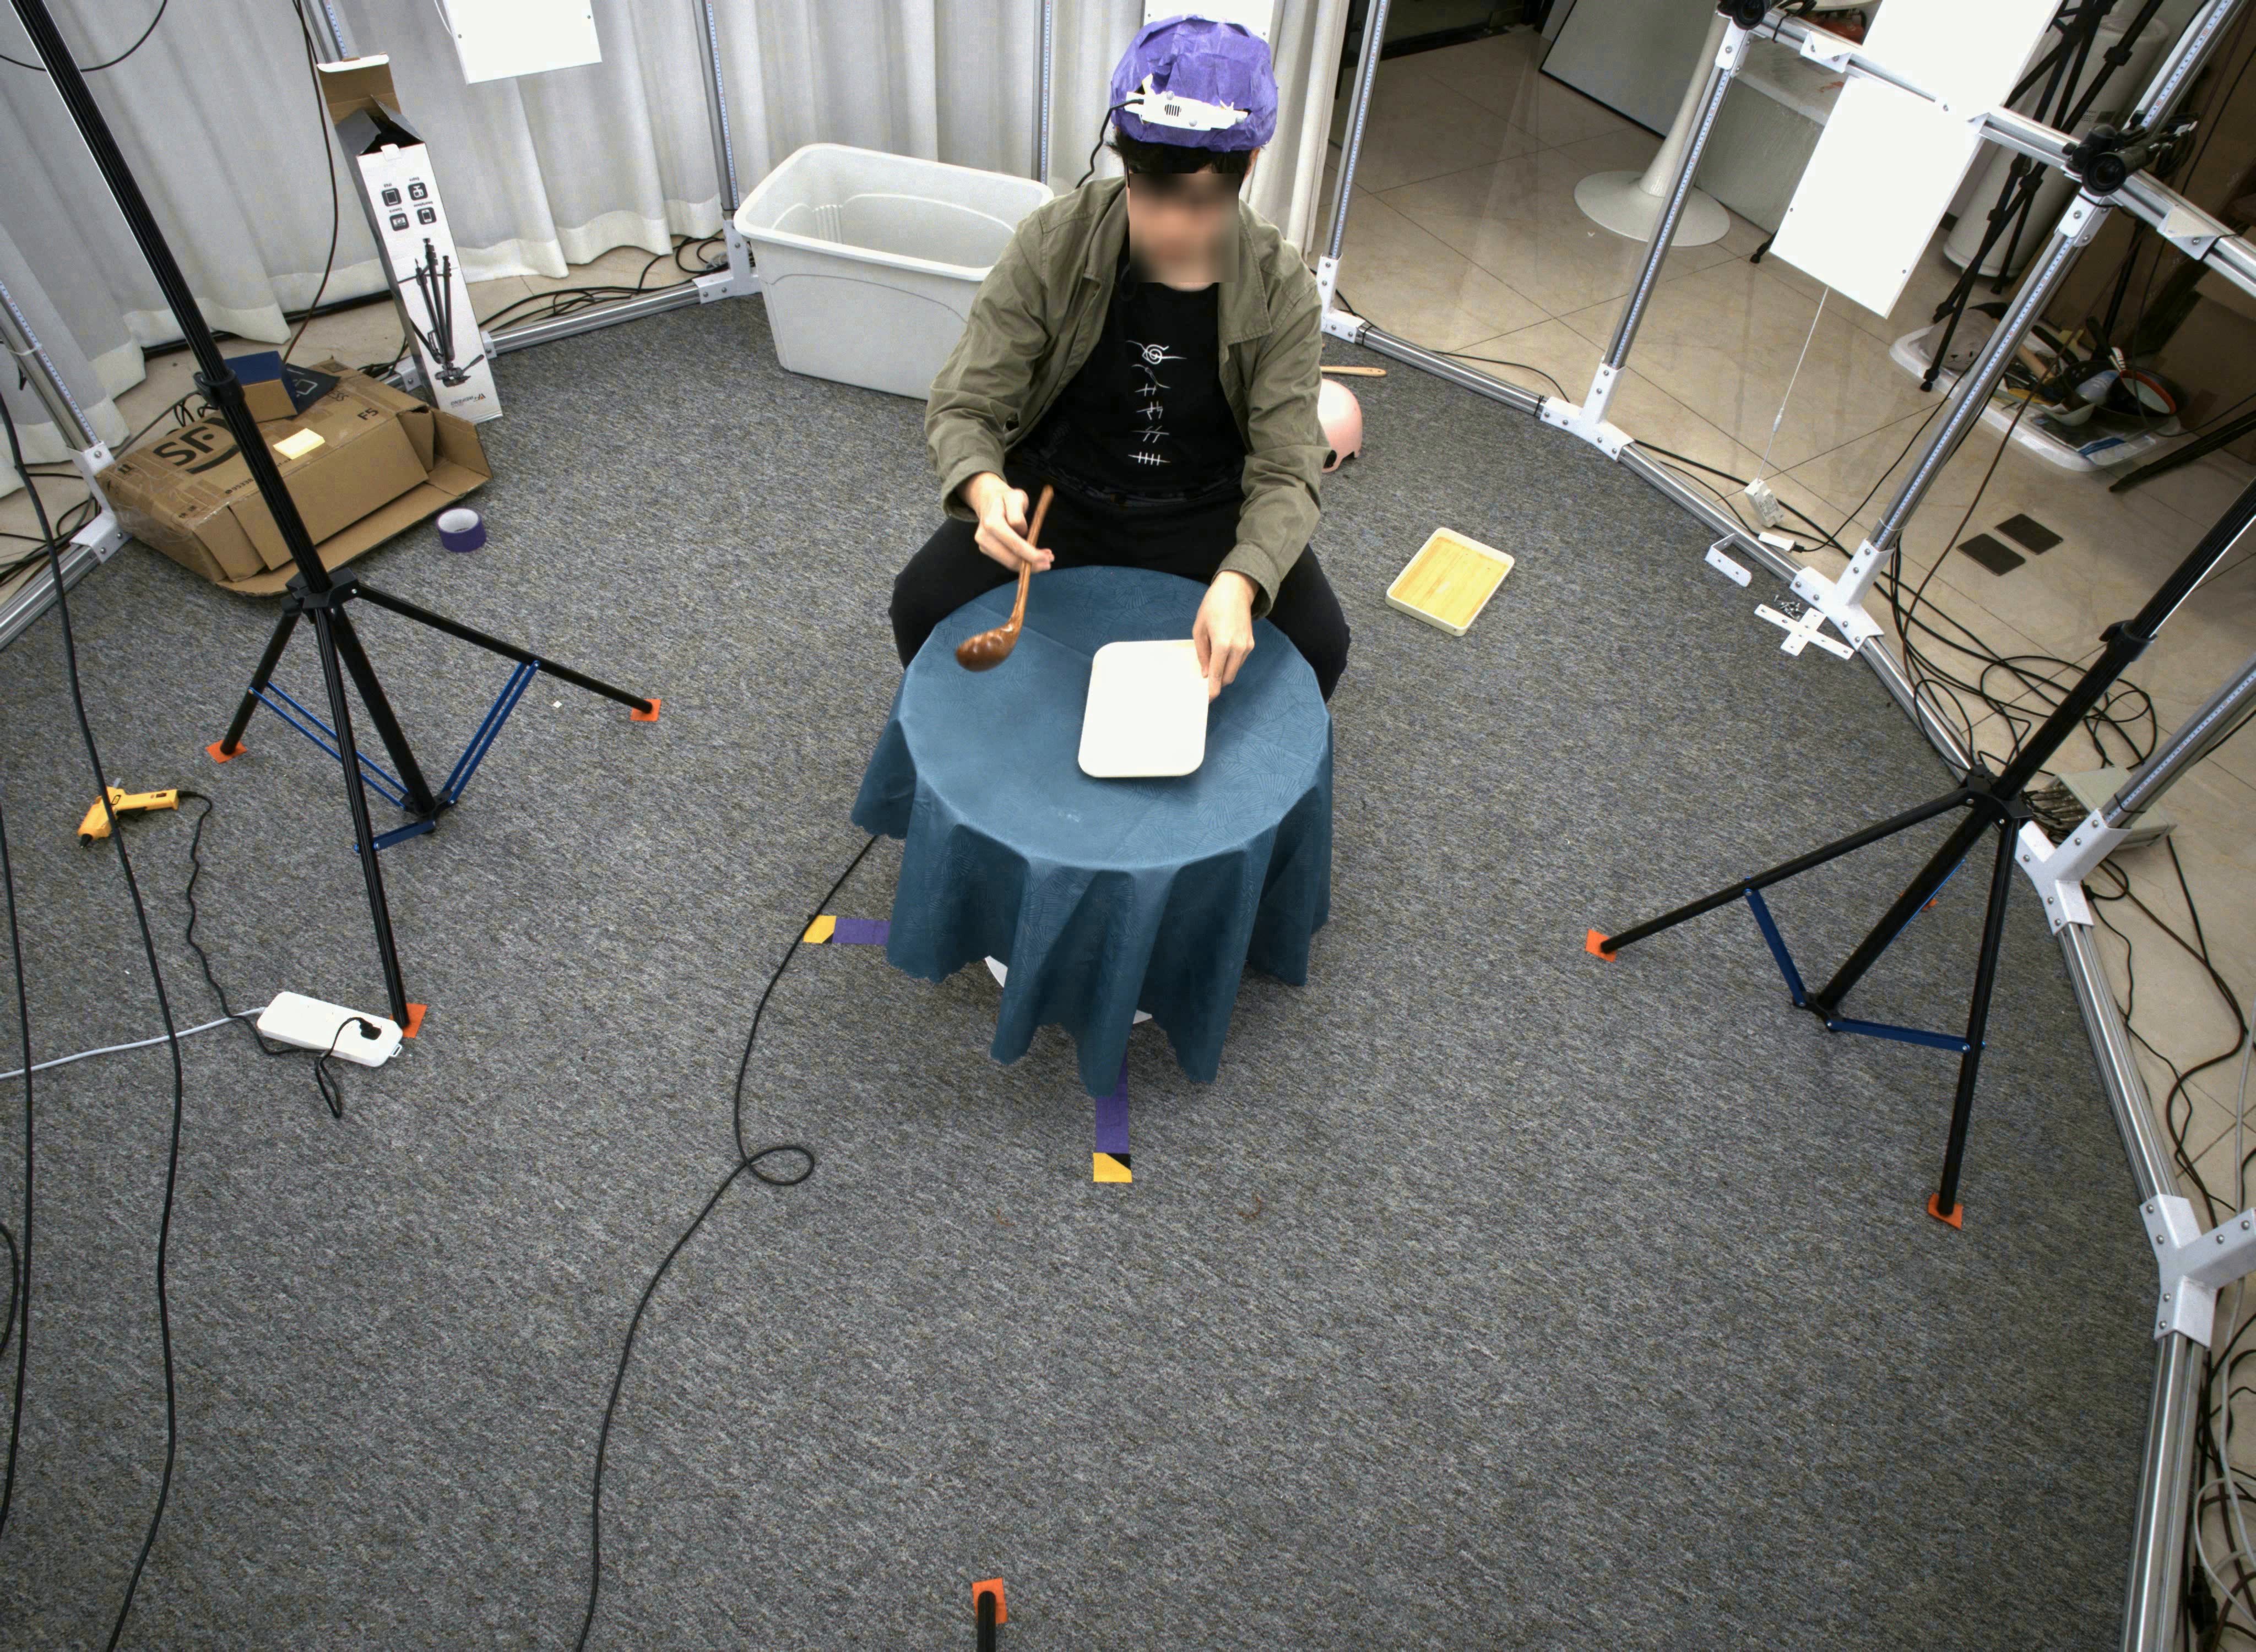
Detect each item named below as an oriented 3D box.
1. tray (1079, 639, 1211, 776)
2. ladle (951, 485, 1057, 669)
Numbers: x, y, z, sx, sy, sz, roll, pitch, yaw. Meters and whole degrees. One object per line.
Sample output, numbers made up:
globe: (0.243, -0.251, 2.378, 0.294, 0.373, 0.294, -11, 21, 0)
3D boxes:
tray: (0.026, -0.163, 1.761, 0.171, 0.017, 0.245, -1, 53, 10)
ladle: (-0.159, -0.325, 1.652, 0.076, 0.081, 0.278, 16, 71, -11)
